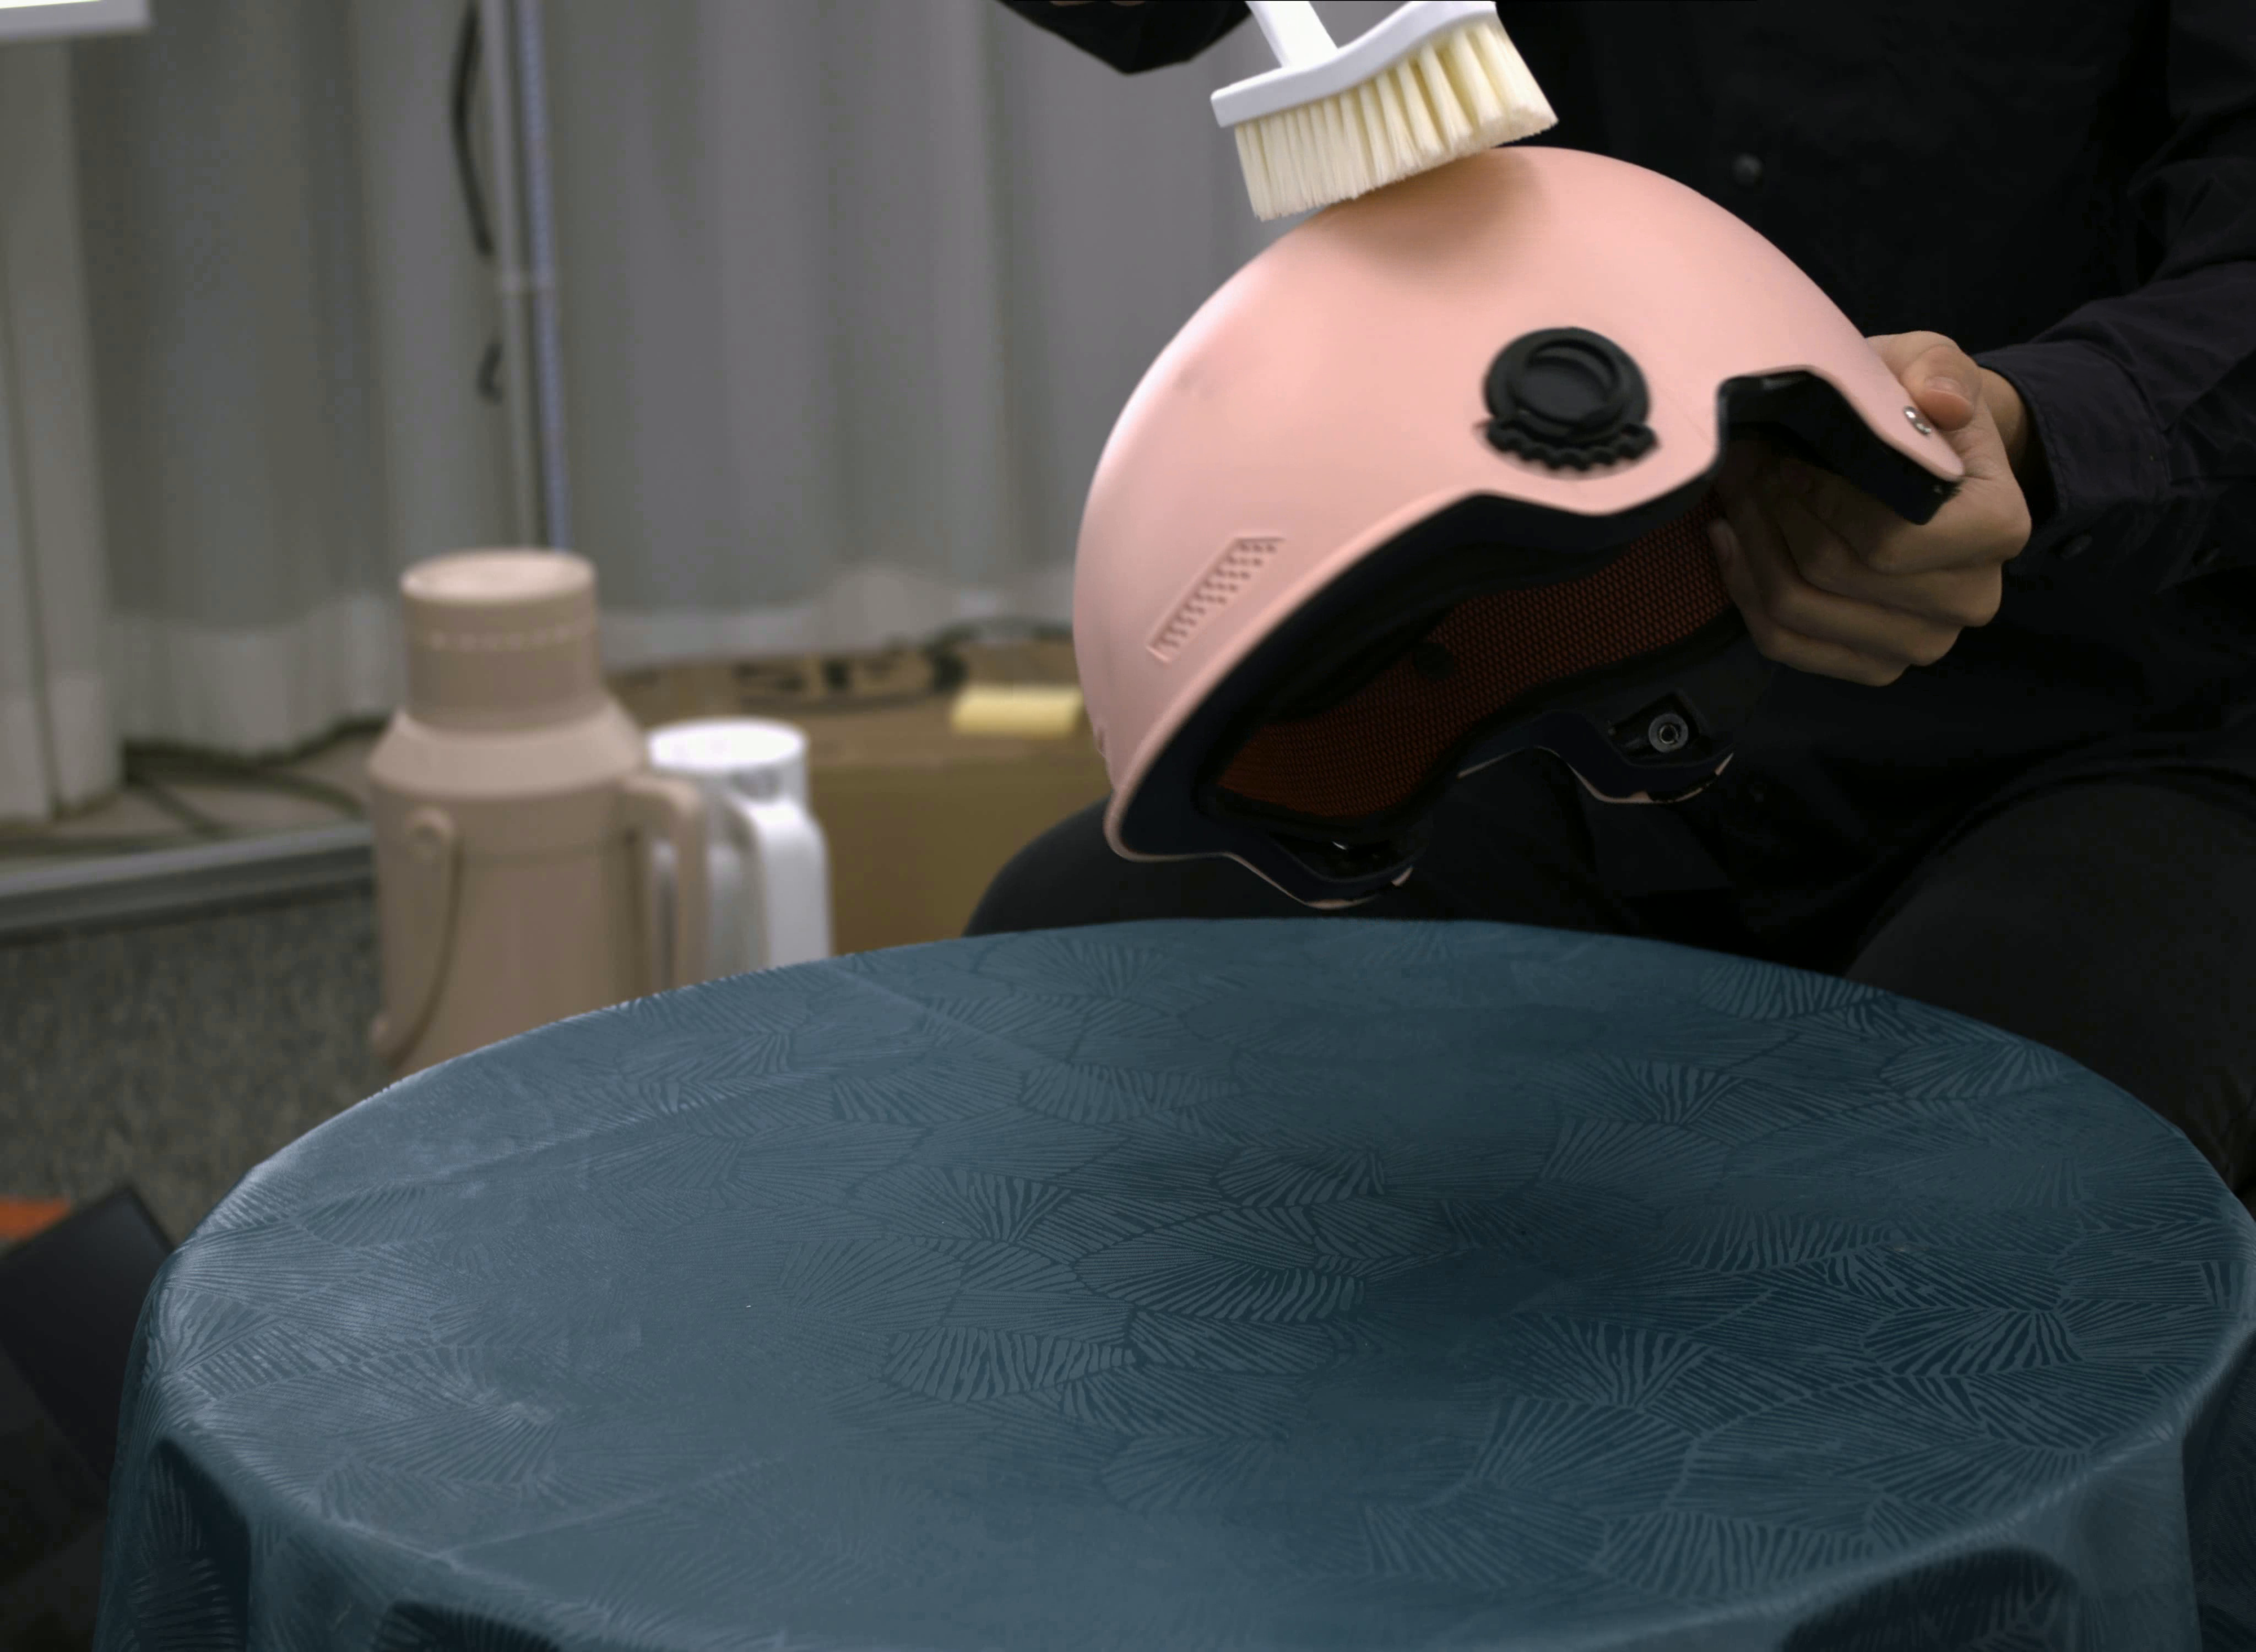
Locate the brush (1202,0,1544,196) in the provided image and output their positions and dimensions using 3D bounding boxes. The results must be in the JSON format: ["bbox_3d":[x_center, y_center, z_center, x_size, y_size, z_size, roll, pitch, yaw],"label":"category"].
[{"bbox_3d":[0.041,-0.224,1.541,0.081,0.085,0.331,19,6,-23],"label":"brush"}]

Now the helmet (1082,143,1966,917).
[{"bbox_3d":[0.088,-0.096,1.490,0.260,0.161,0.235,-17,-22,-28],"label":"helmet"}]
